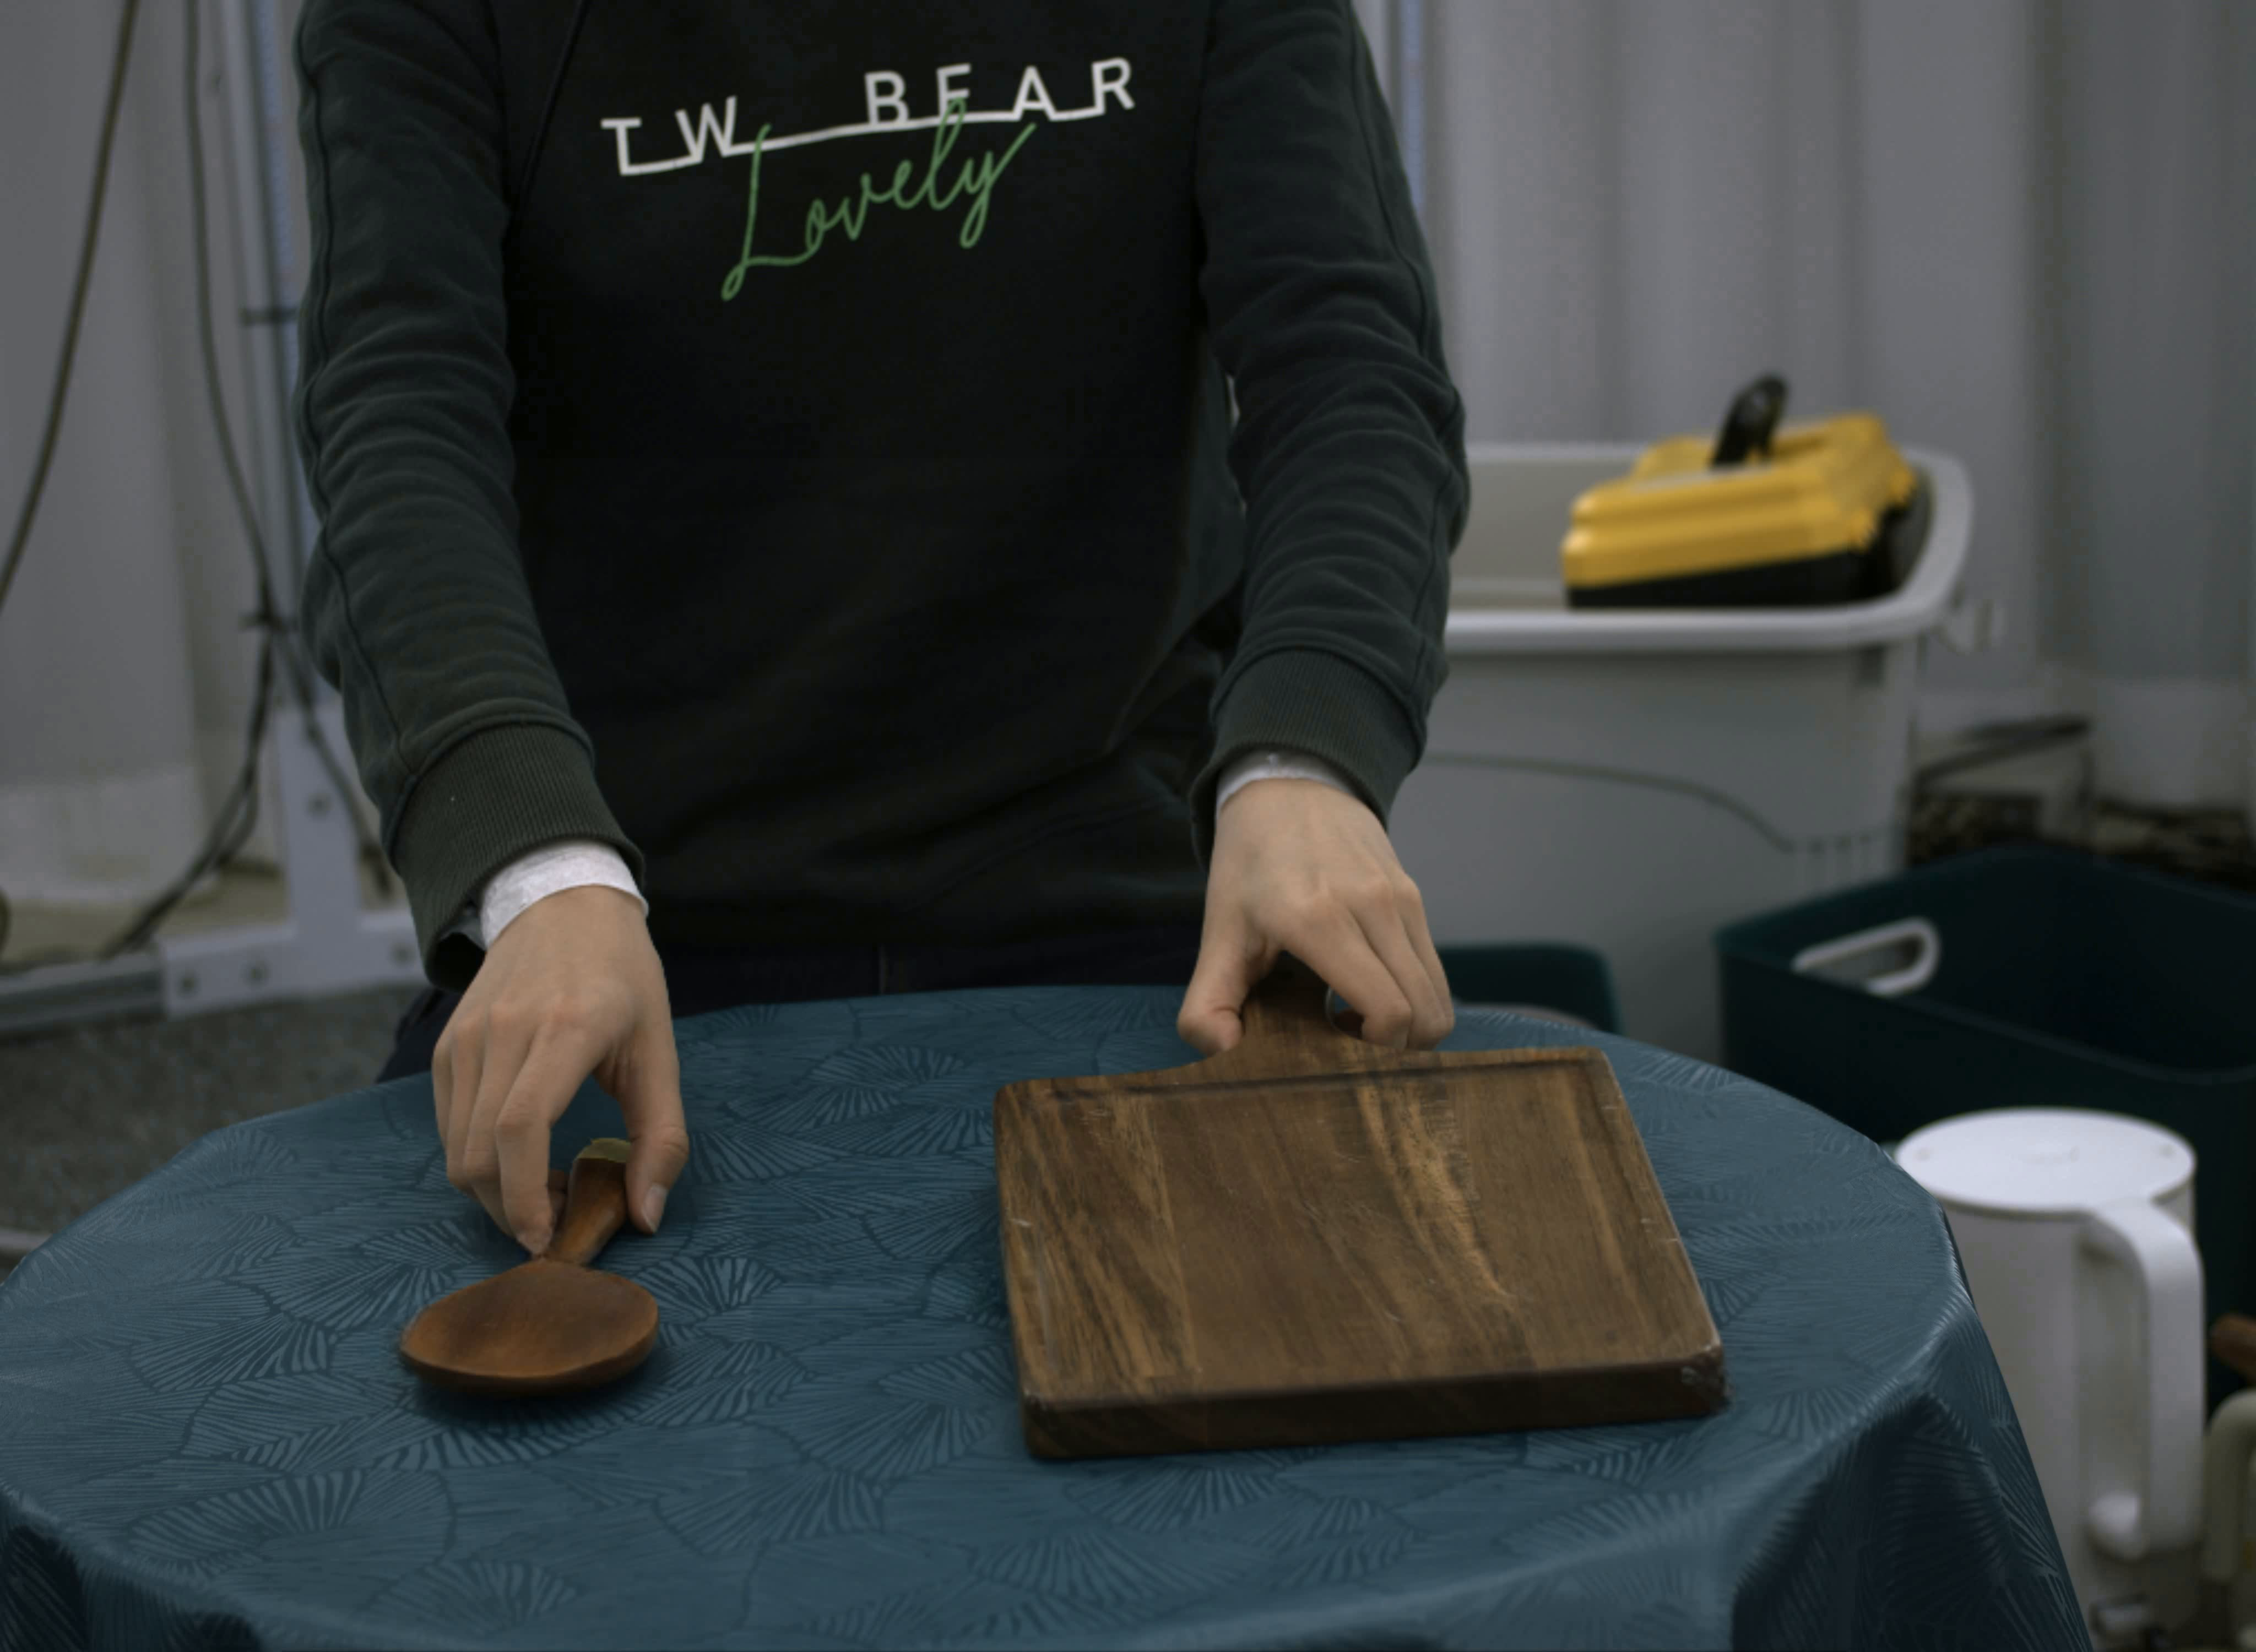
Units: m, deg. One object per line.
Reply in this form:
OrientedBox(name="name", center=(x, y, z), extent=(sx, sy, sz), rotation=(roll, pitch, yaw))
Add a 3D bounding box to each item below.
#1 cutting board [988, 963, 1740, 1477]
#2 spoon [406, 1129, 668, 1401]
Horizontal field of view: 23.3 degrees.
OrientedBox(name="cutting board", center=(0.059, 0.109, 1.659), extent=(0.200, 0.023, 0.355), rotation=(-5, 18, -2))
OrientedBox(name="spoon", center=(-0.167, 0.133, 1.643), extent=(0.075, 0.017, 0.217), rotation=(-4, 16, 4))
